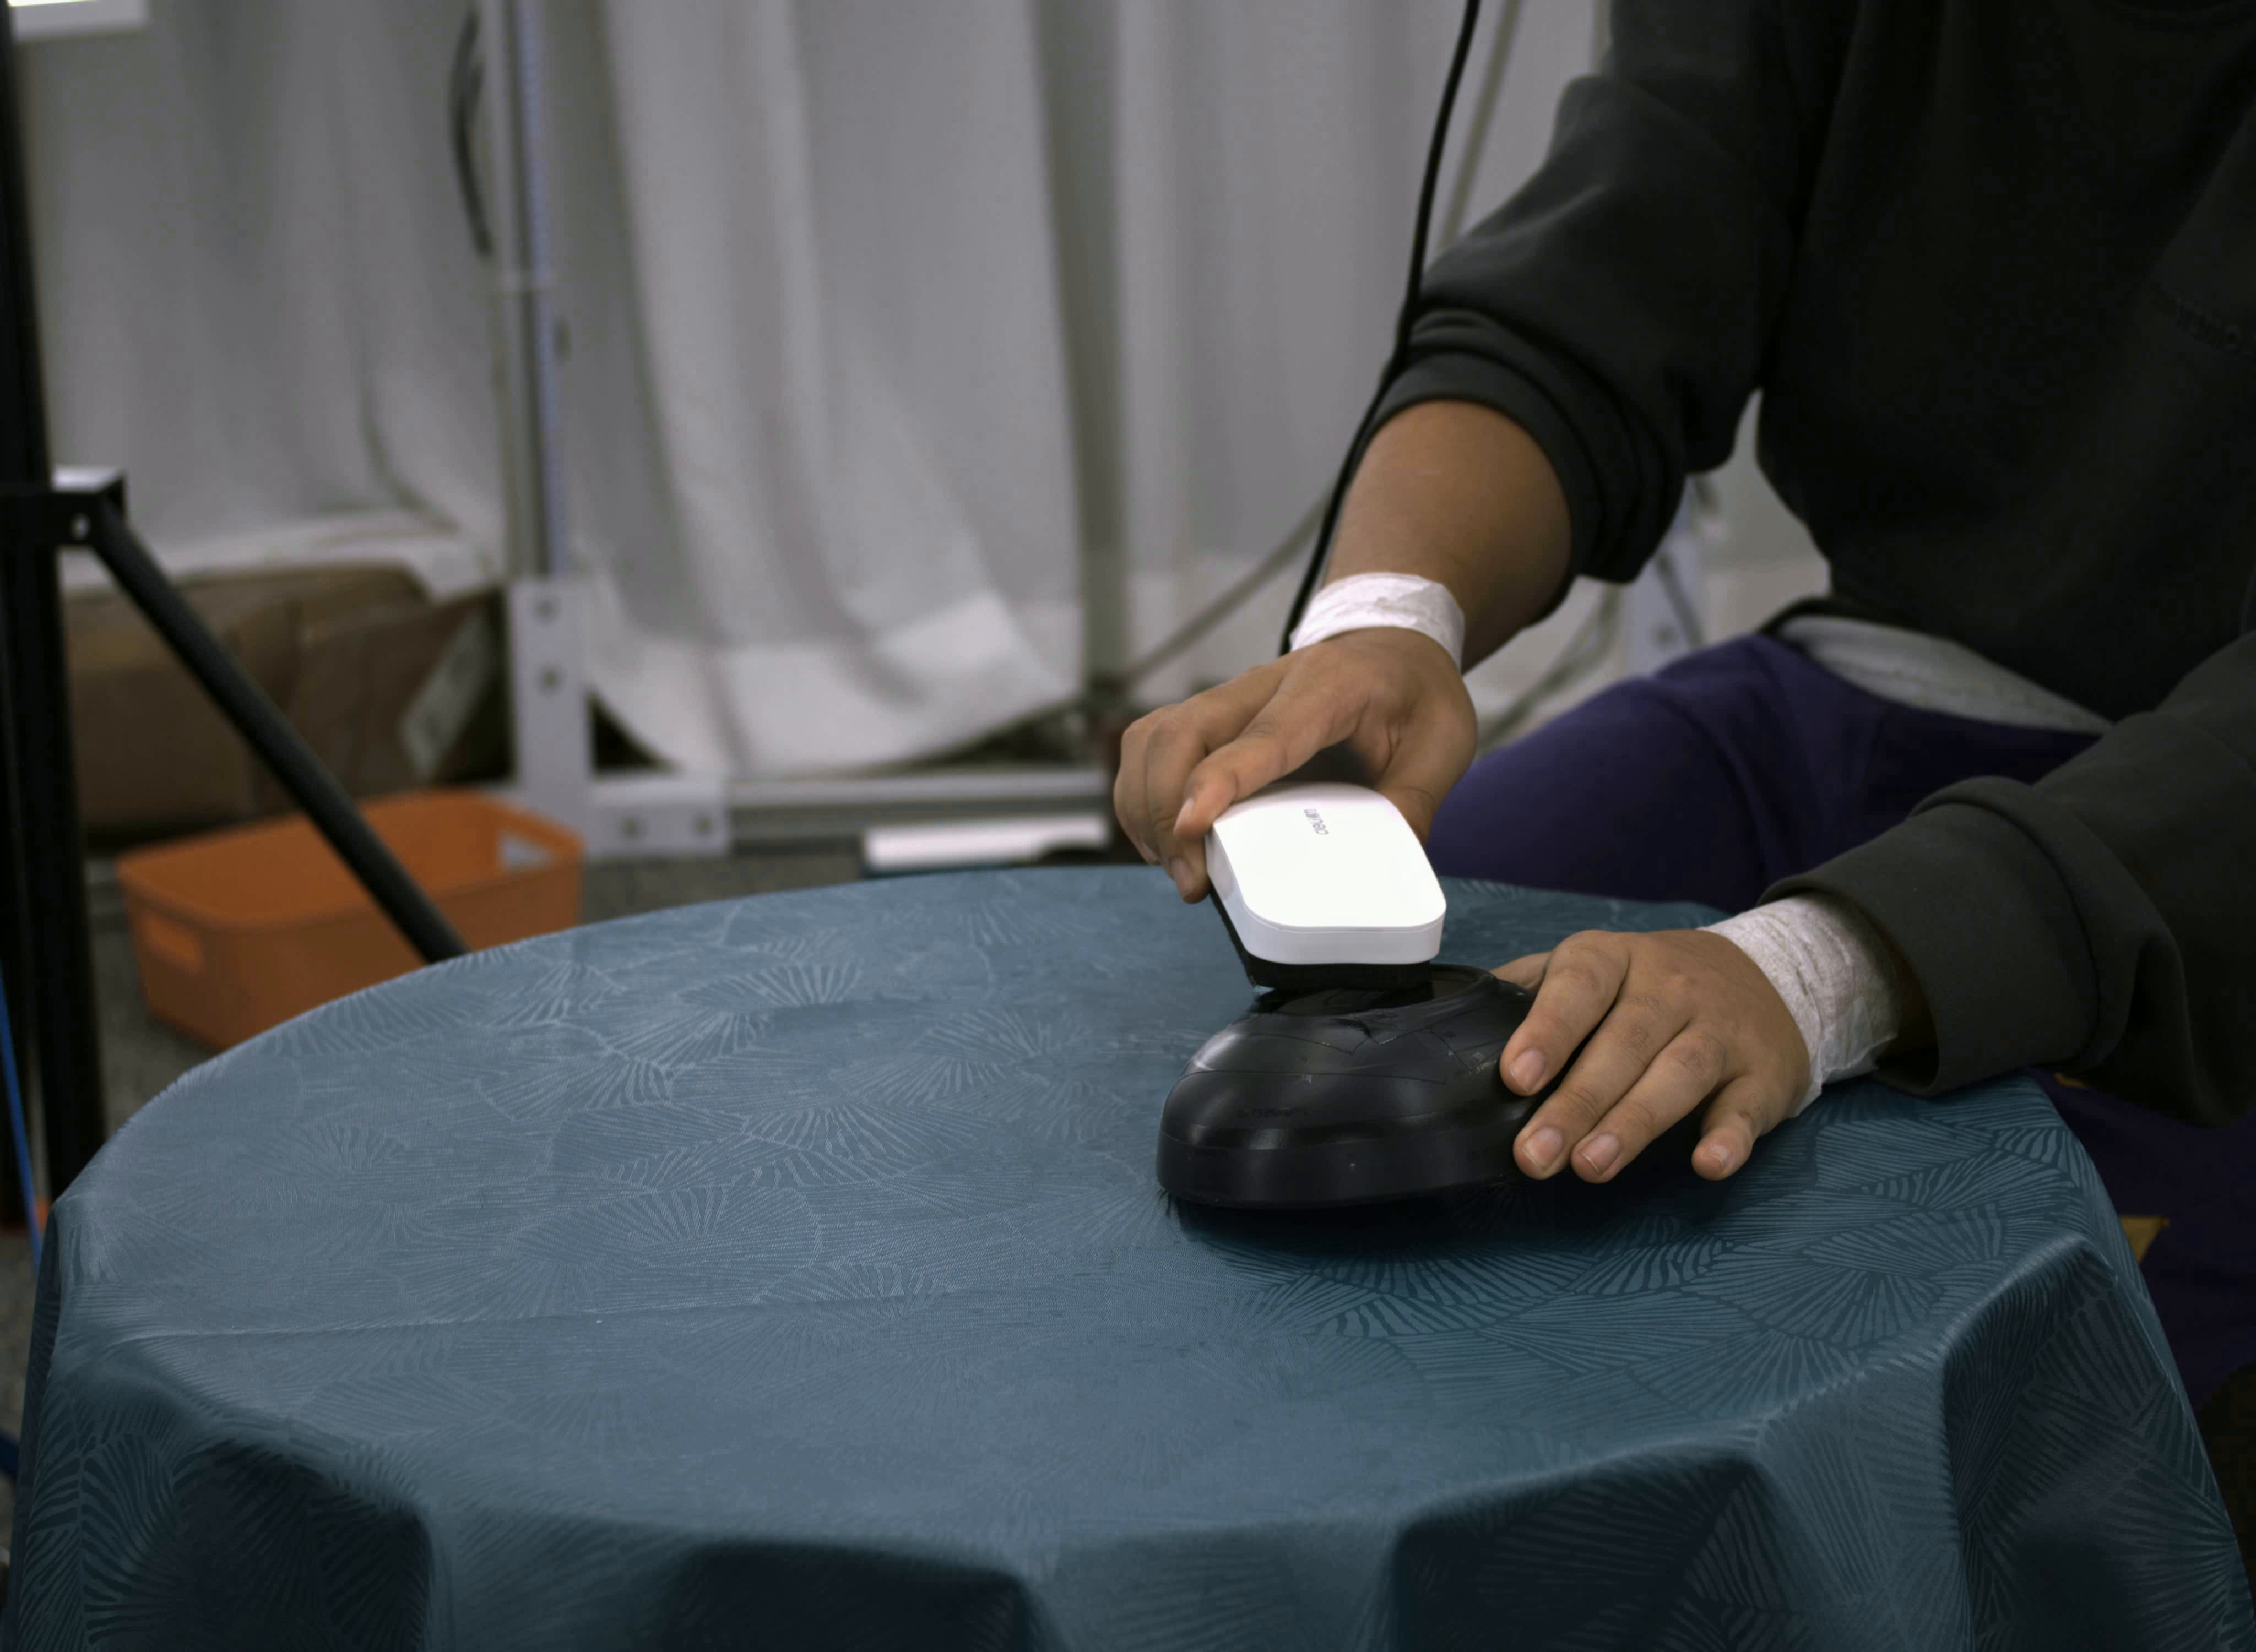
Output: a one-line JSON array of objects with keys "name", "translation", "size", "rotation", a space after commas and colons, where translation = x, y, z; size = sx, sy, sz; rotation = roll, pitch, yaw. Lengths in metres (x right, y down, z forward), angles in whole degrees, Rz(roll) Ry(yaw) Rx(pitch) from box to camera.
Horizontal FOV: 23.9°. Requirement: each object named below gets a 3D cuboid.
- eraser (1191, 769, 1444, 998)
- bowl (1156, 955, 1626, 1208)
[{"name": "eraser", "translation": [0.057, 0.014, 1.601], "size": [0.063, 0.034, 0.132], "rotation": [2, 21, -8]}, {"name": "bowl", "translation": [0.074, 0.070, 1.550], "size": [0.139, 0.050, 0.140], "rotation": [-10, 9, 0]}]
